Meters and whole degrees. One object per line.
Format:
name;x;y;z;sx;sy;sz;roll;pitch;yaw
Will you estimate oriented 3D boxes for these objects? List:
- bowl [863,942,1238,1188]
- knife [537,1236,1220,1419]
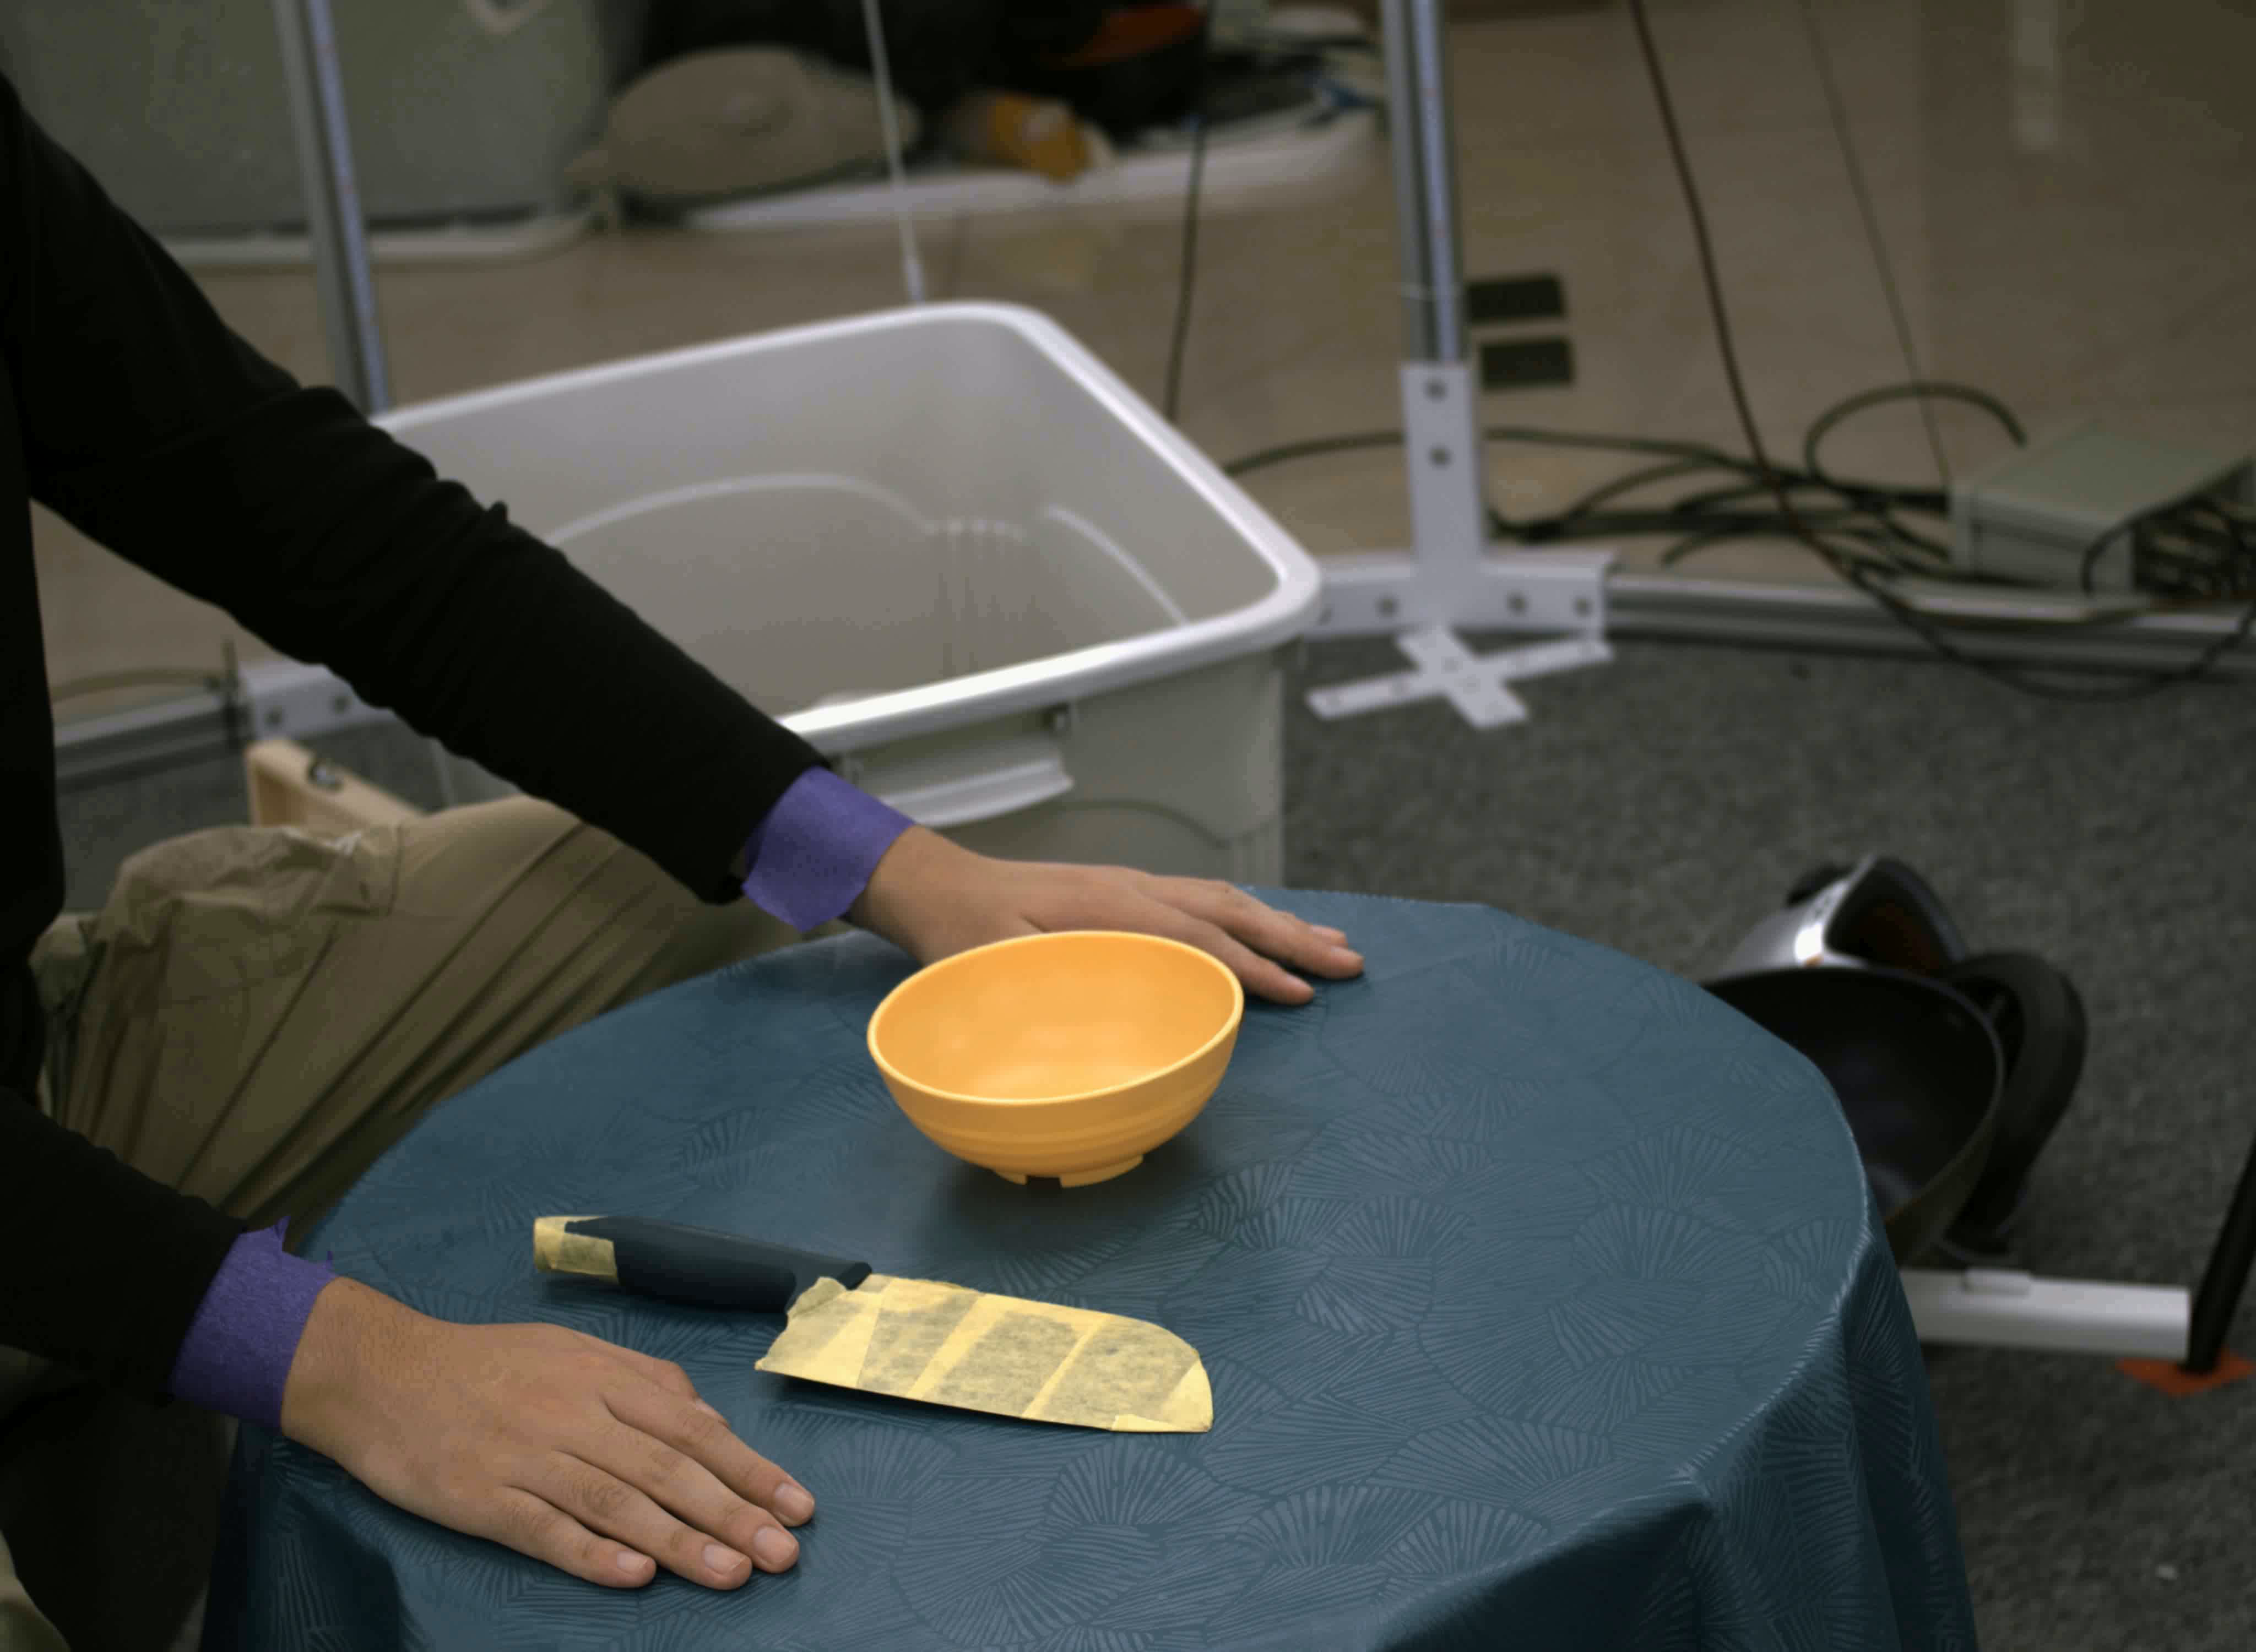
bowl;-0.028;0.098;2.173;0.145;0.061;0.143;-4;23;2
knife;-0.097;0.183;2.063;0.288;0.027;0.080;7;27;25
